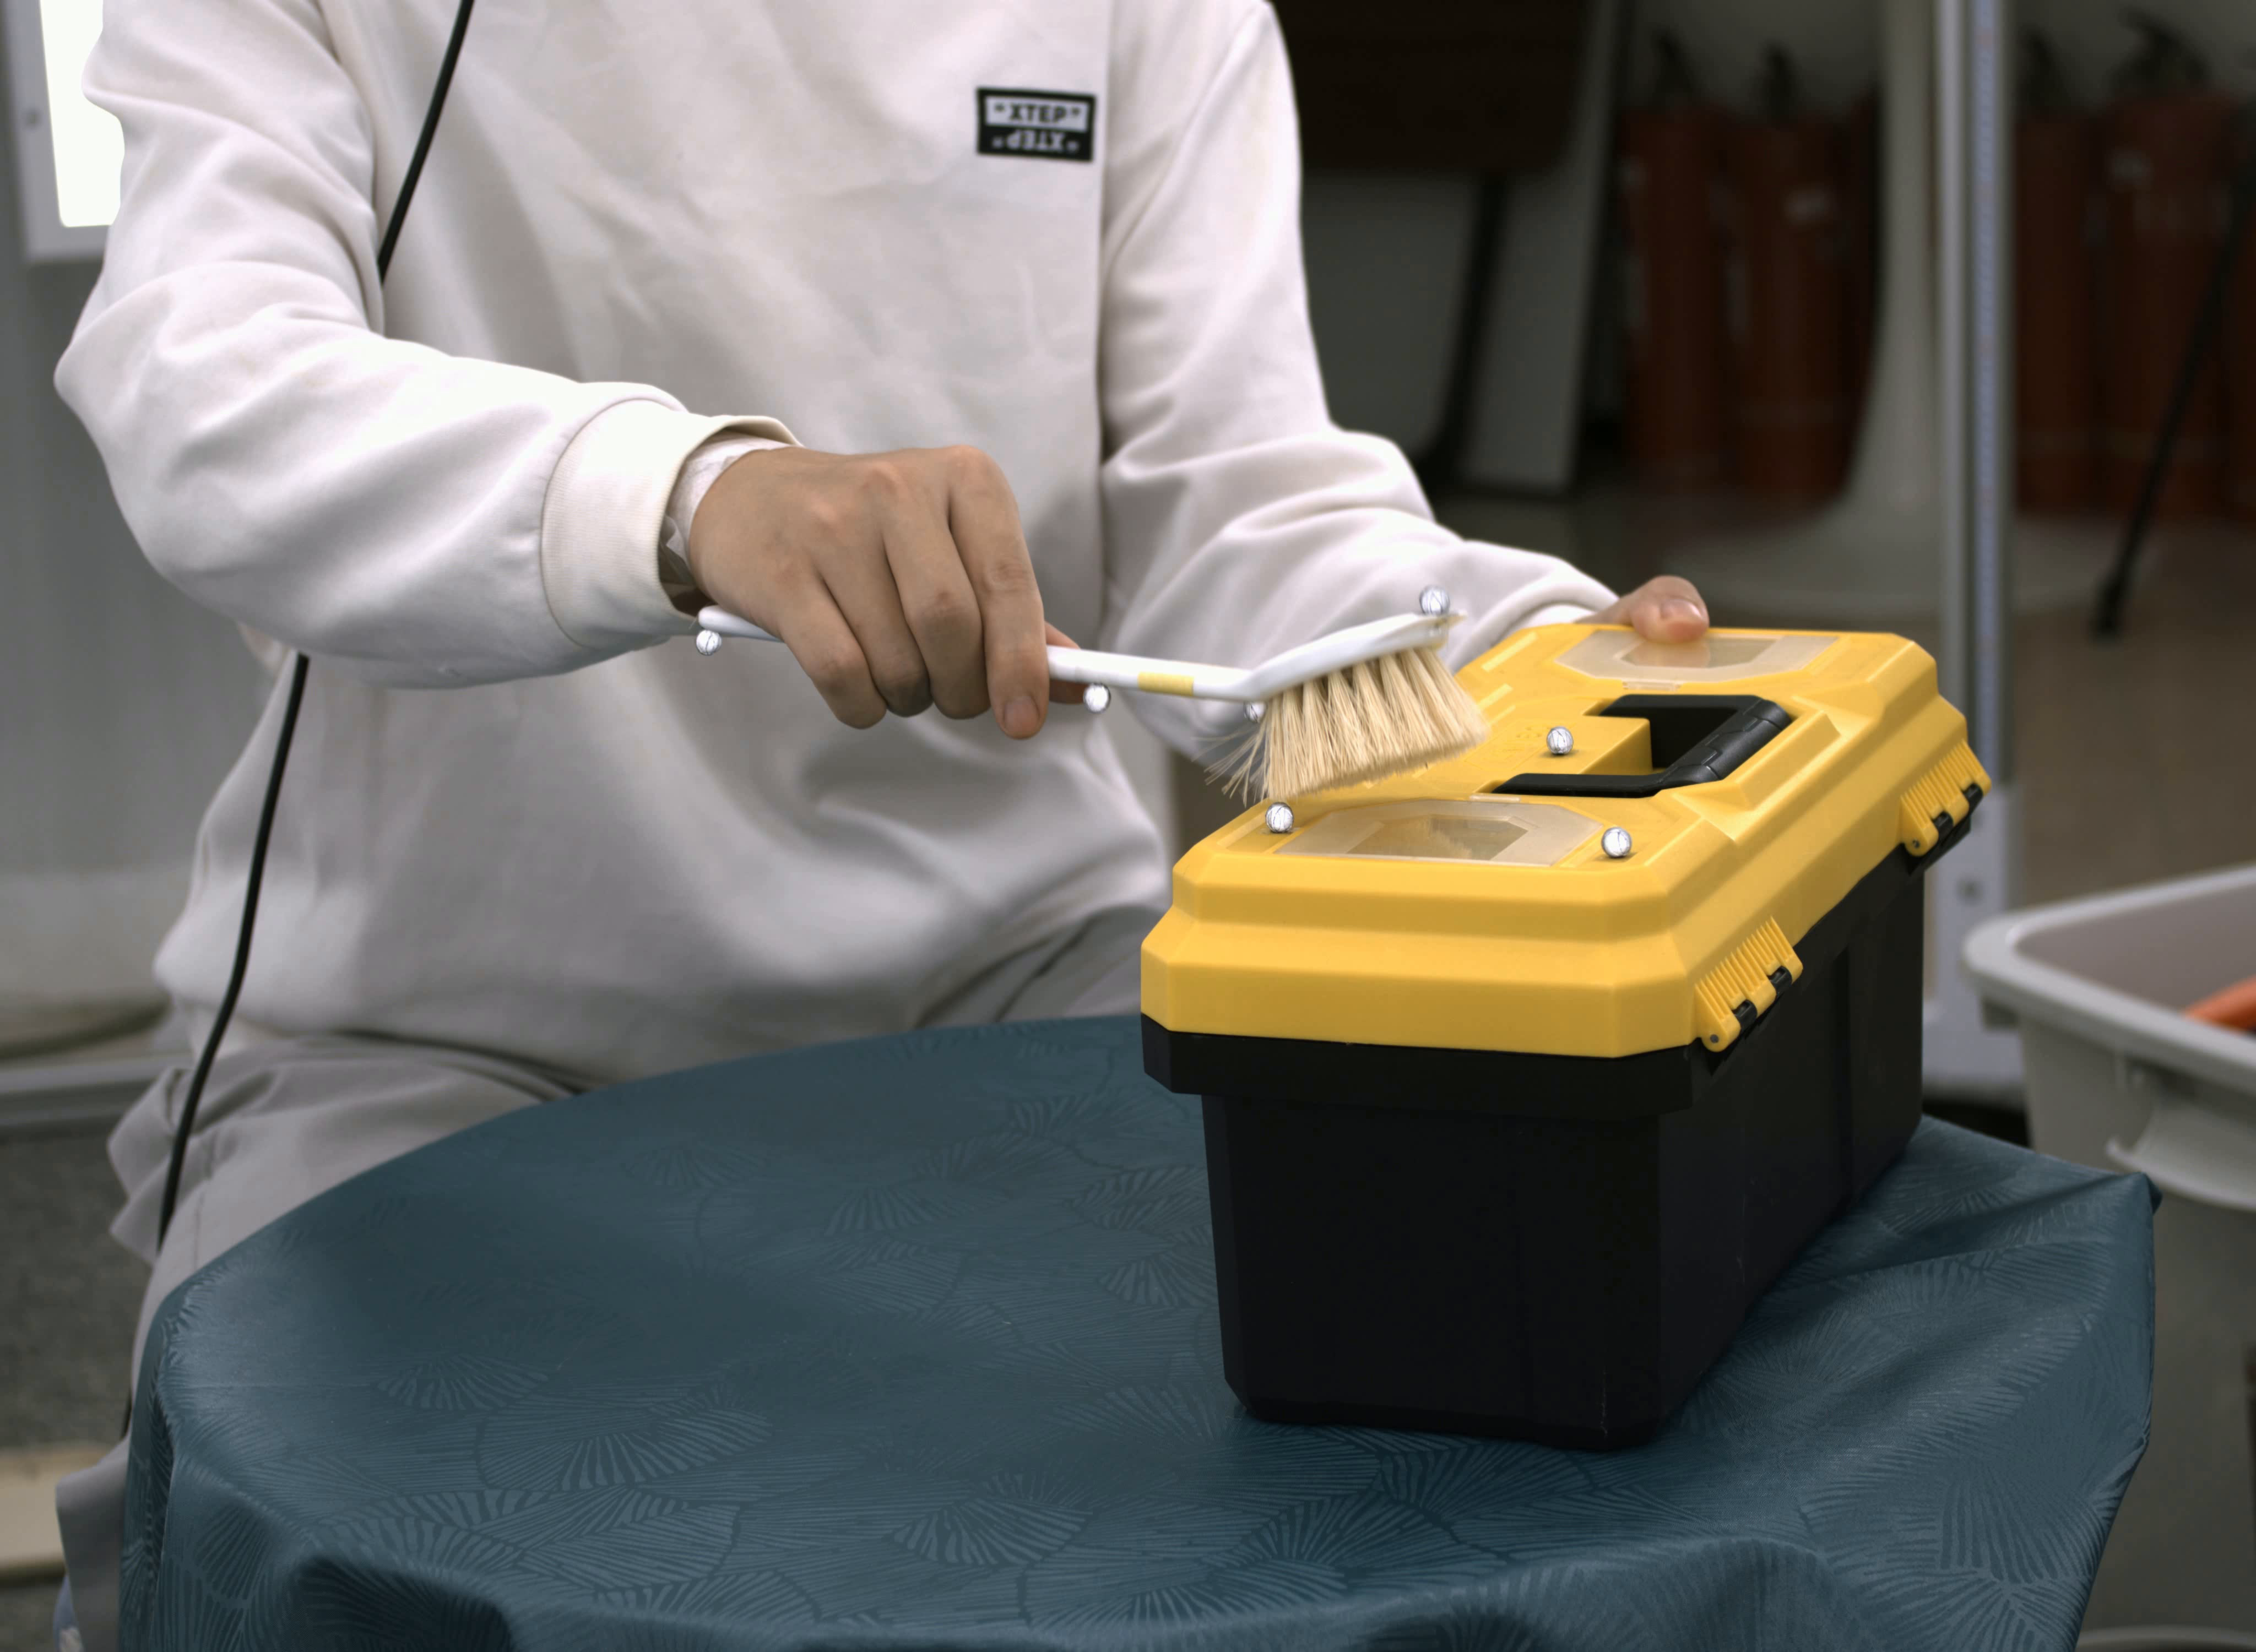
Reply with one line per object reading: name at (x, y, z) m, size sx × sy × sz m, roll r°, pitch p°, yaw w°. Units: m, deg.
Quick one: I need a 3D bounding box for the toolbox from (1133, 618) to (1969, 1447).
toolbox at (0.139, 0.054, 1.645) m, size 0.181 × 0.175 × 0.347 m, roll 3°, pitch 14°, yaw 23°

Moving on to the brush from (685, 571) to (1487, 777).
brush at (-0.017, -0.044, 1.598) m, size 0.267 × 0.057 × 0.067 m, roll 0°, pitch -3°, yaw 29°
